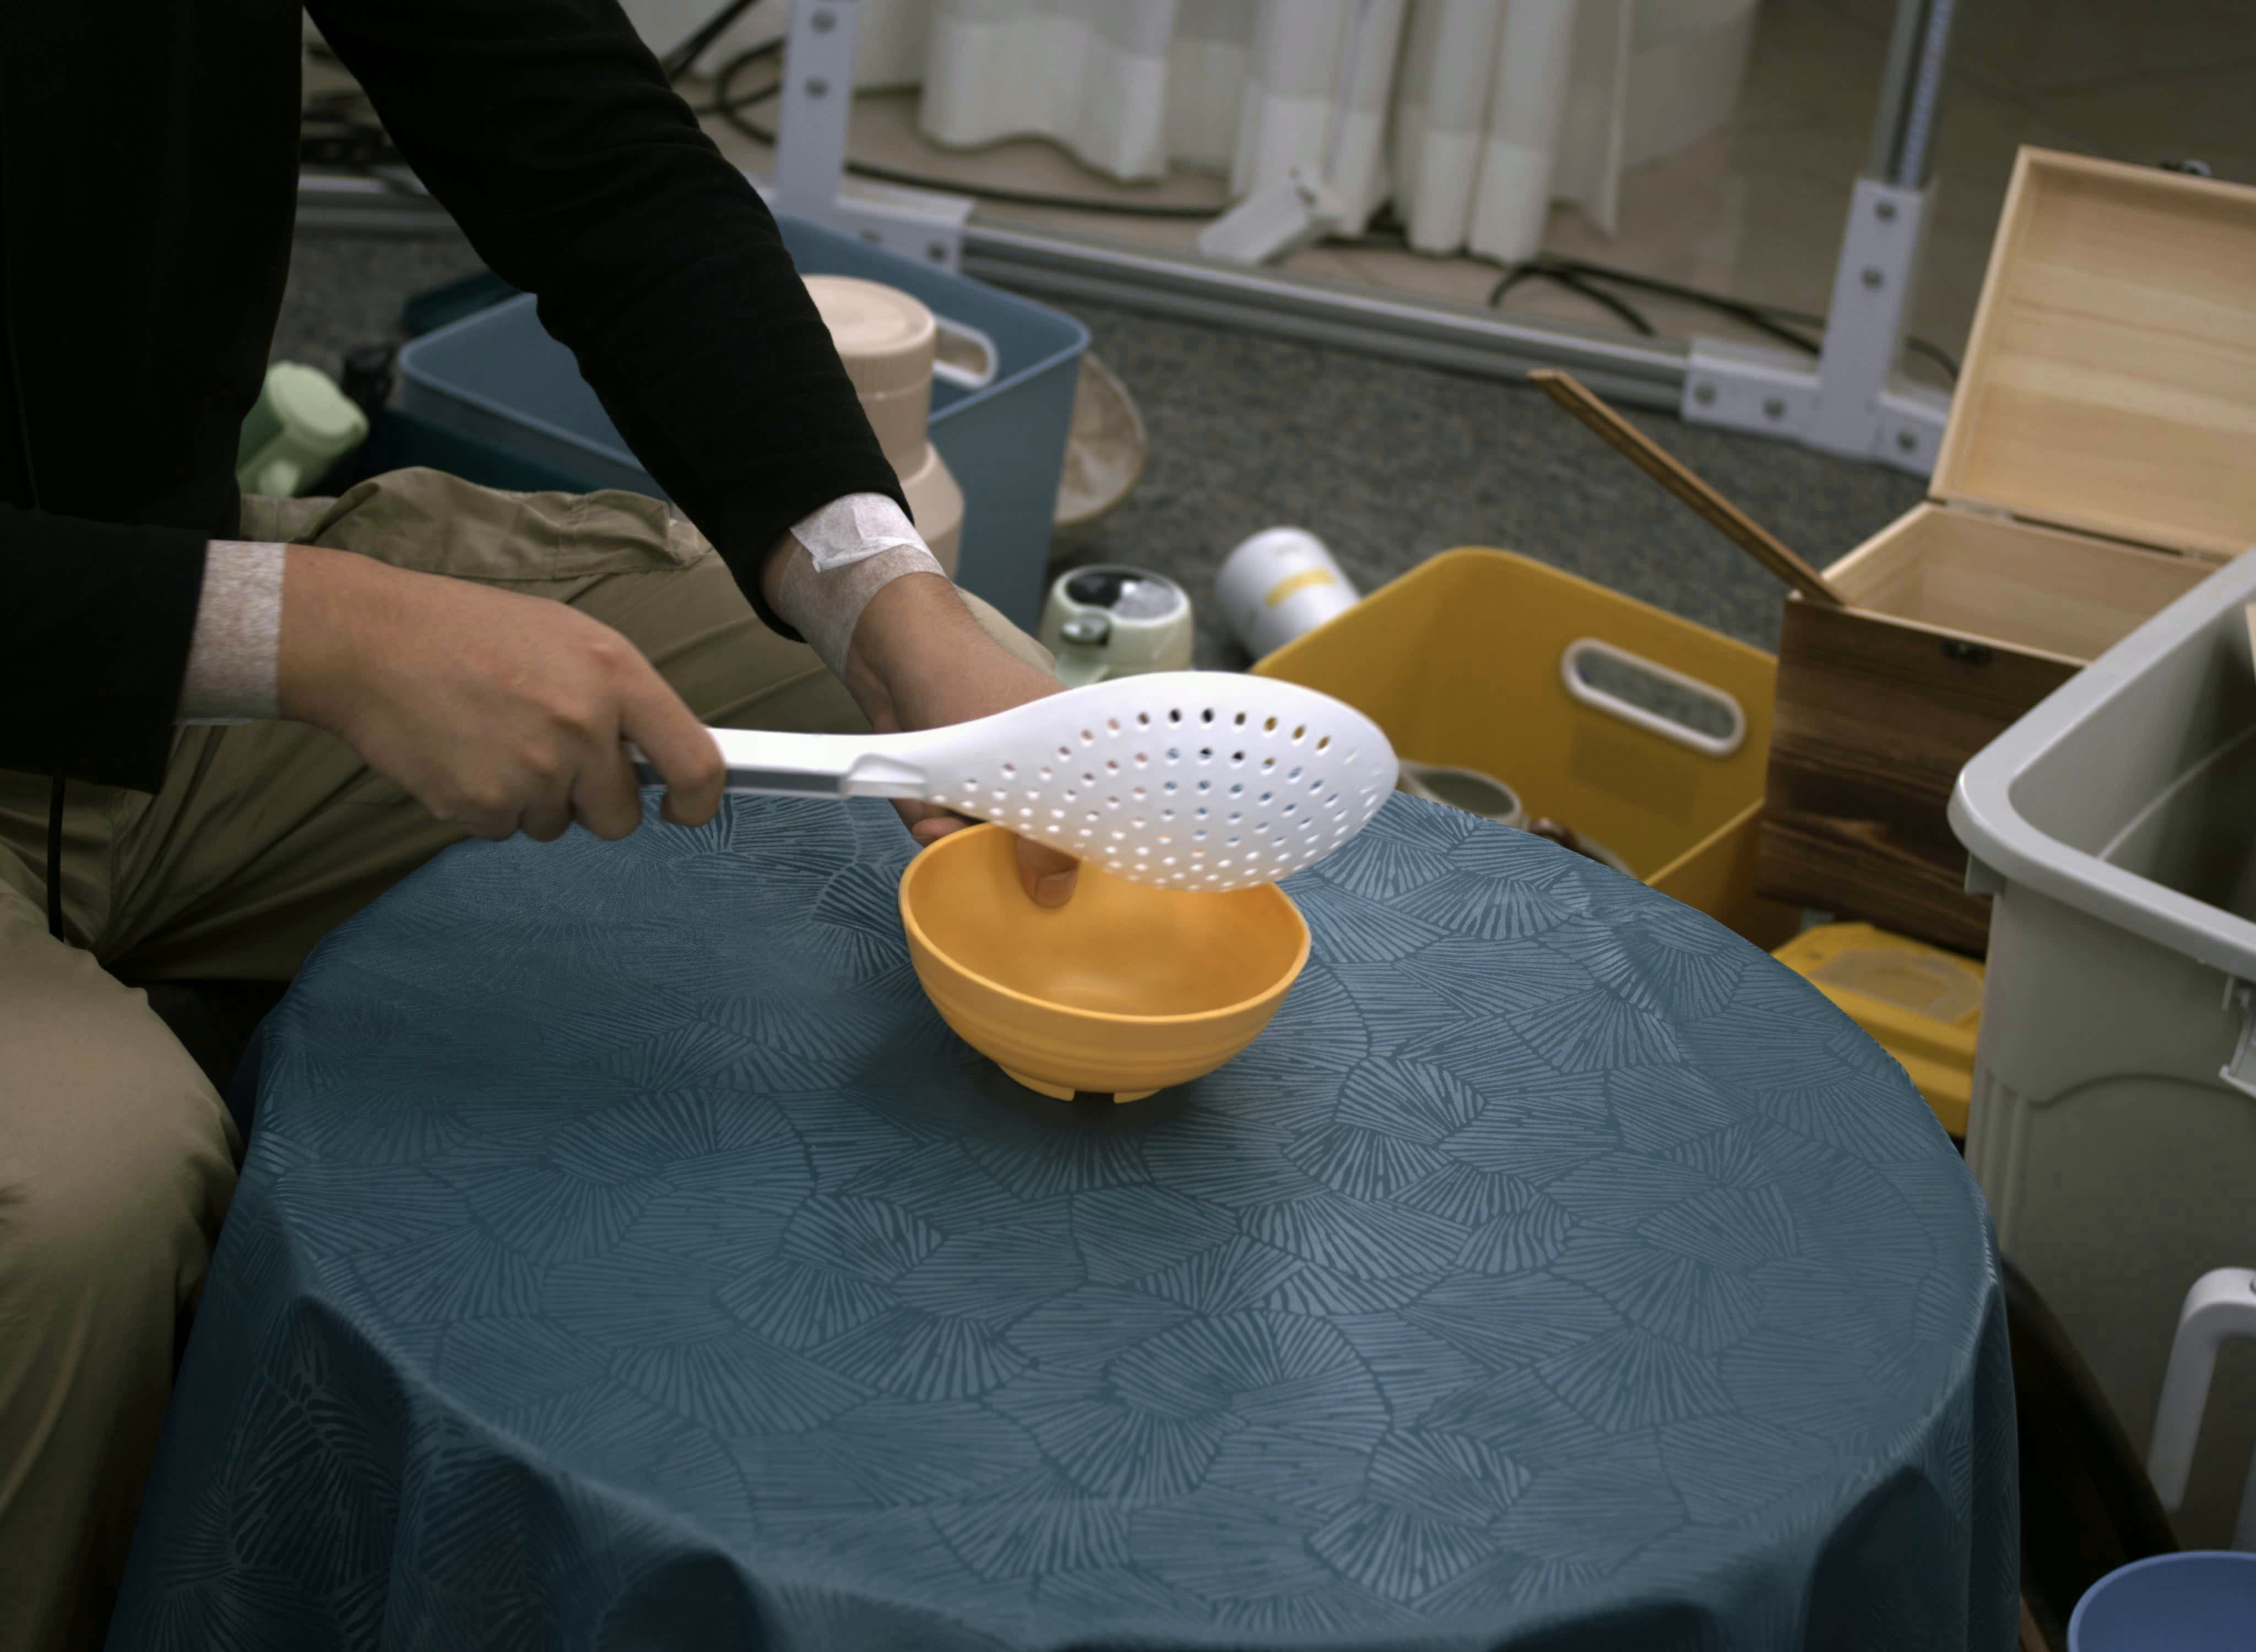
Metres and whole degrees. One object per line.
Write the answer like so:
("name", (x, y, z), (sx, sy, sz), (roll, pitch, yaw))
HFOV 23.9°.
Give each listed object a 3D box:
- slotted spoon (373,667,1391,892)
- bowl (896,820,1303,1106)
("slotted spoon", (-0.085, -0.020, 1.833), (0.349, 0.135, 0.046), (7, 63, 2))
("bowl", (-0.014, 0.057, 1.867), (0.145, 0.060, 0.146), (8, 27, -5))
